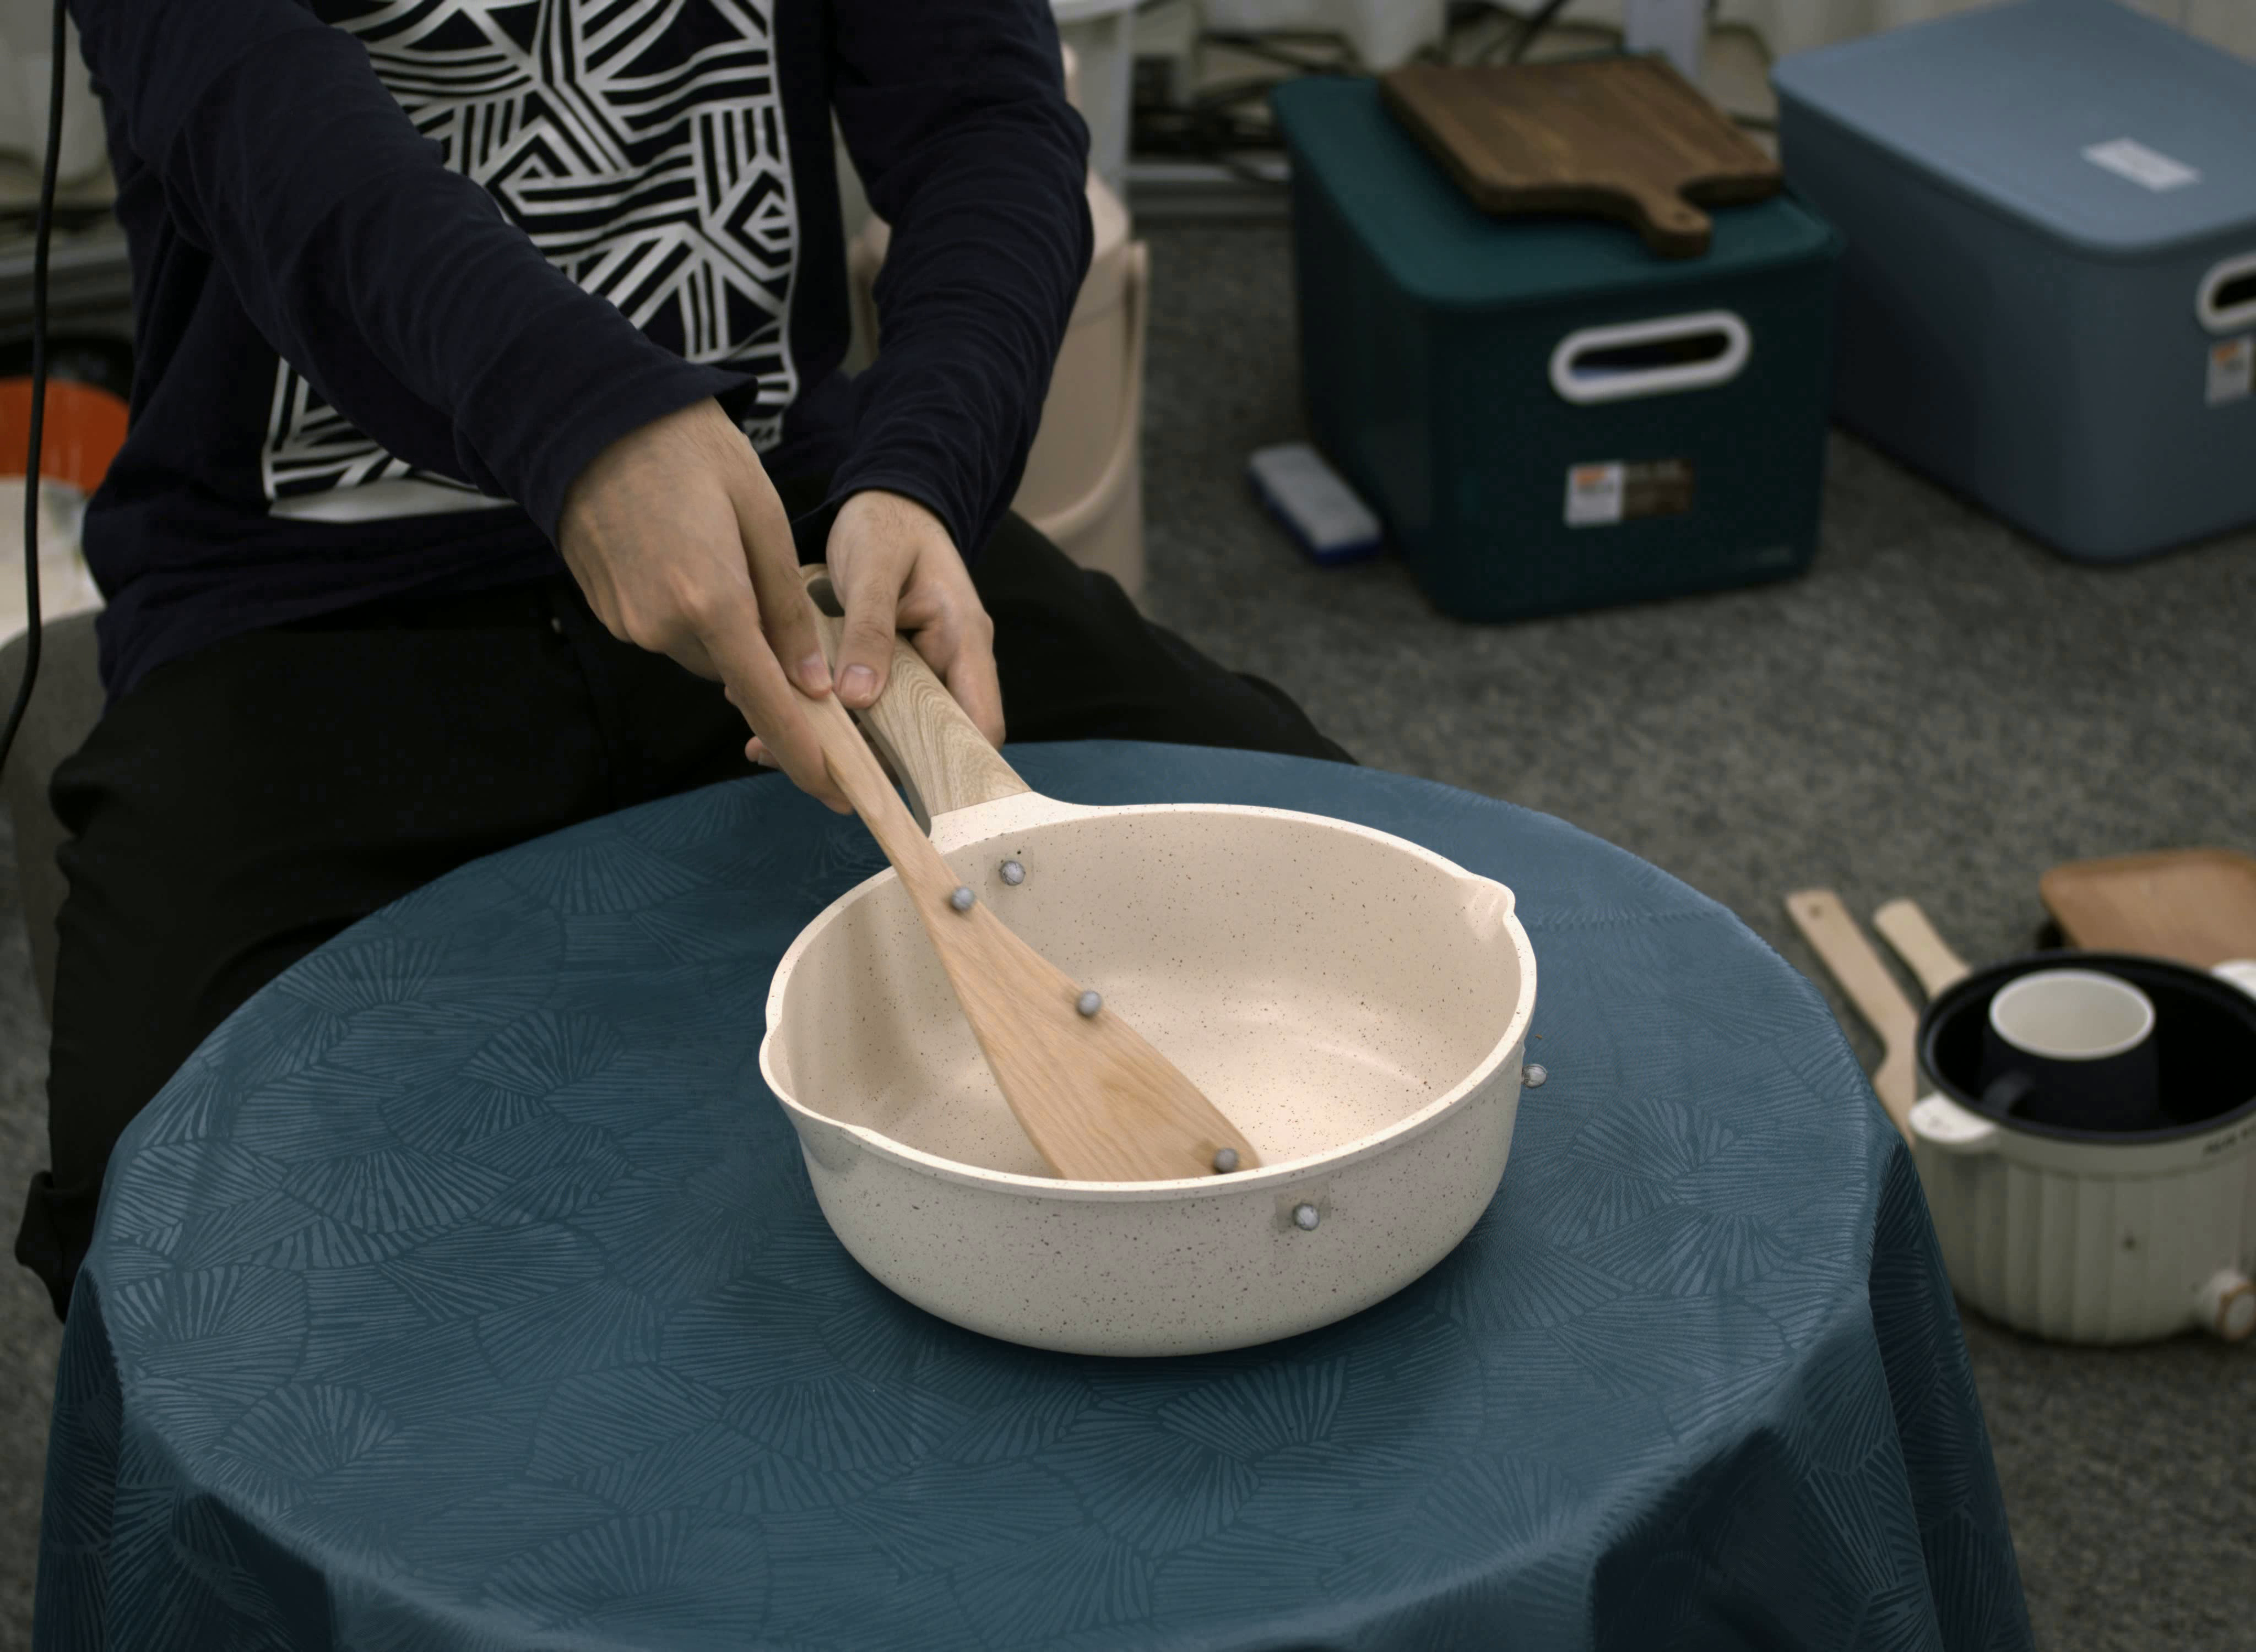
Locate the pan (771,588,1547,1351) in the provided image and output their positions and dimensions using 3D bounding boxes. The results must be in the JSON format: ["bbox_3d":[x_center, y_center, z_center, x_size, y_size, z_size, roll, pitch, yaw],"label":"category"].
[{"bbox_3d":[-0.025,0.043,1.919,0.264,0.101,0.437,-15,29,-20],"label":"pan"}]

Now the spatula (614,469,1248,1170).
[{"bbox_3d":[-0.069,0.009,1.867,0.081,0.016,0.329,-26,76,-49],"label":"spatula"}]
